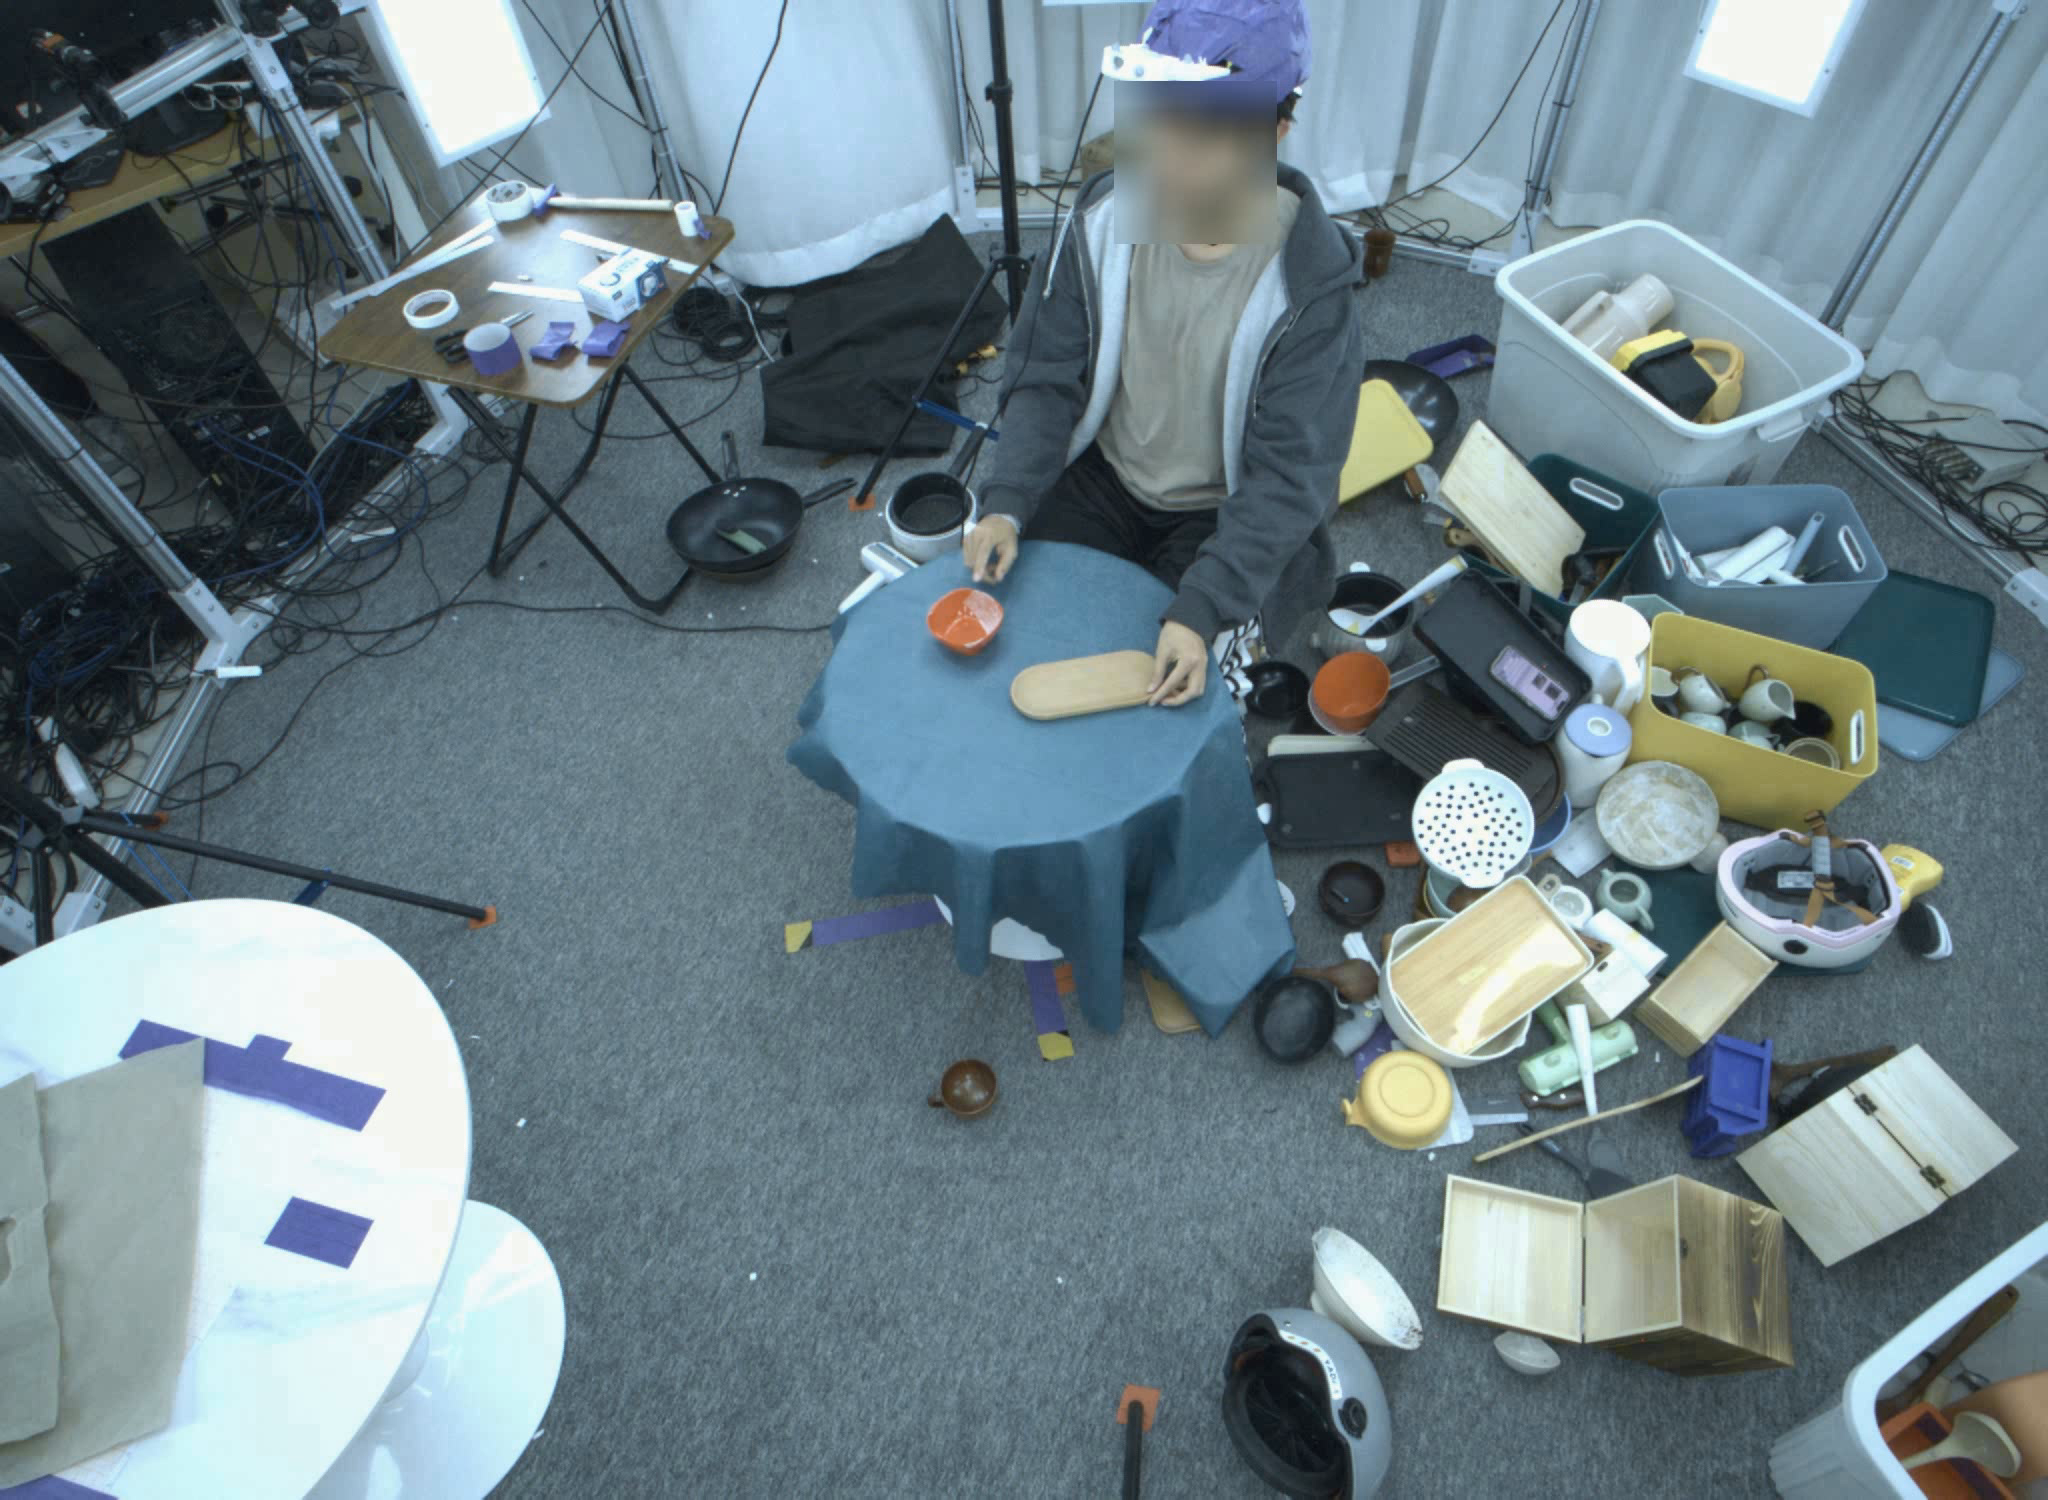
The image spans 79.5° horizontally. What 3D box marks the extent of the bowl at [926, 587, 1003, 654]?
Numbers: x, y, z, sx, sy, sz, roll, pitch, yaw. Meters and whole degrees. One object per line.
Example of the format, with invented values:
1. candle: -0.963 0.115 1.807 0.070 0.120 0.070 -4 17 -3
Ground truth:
1. bowl: -0.090 -0.193 1.896 0.118 0.052 0.118 -2 55 3

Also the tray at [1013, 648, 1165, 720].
1. tray: 0.098 -0.099 1.847 0.232 0.020 0.100 -10 56 -6
